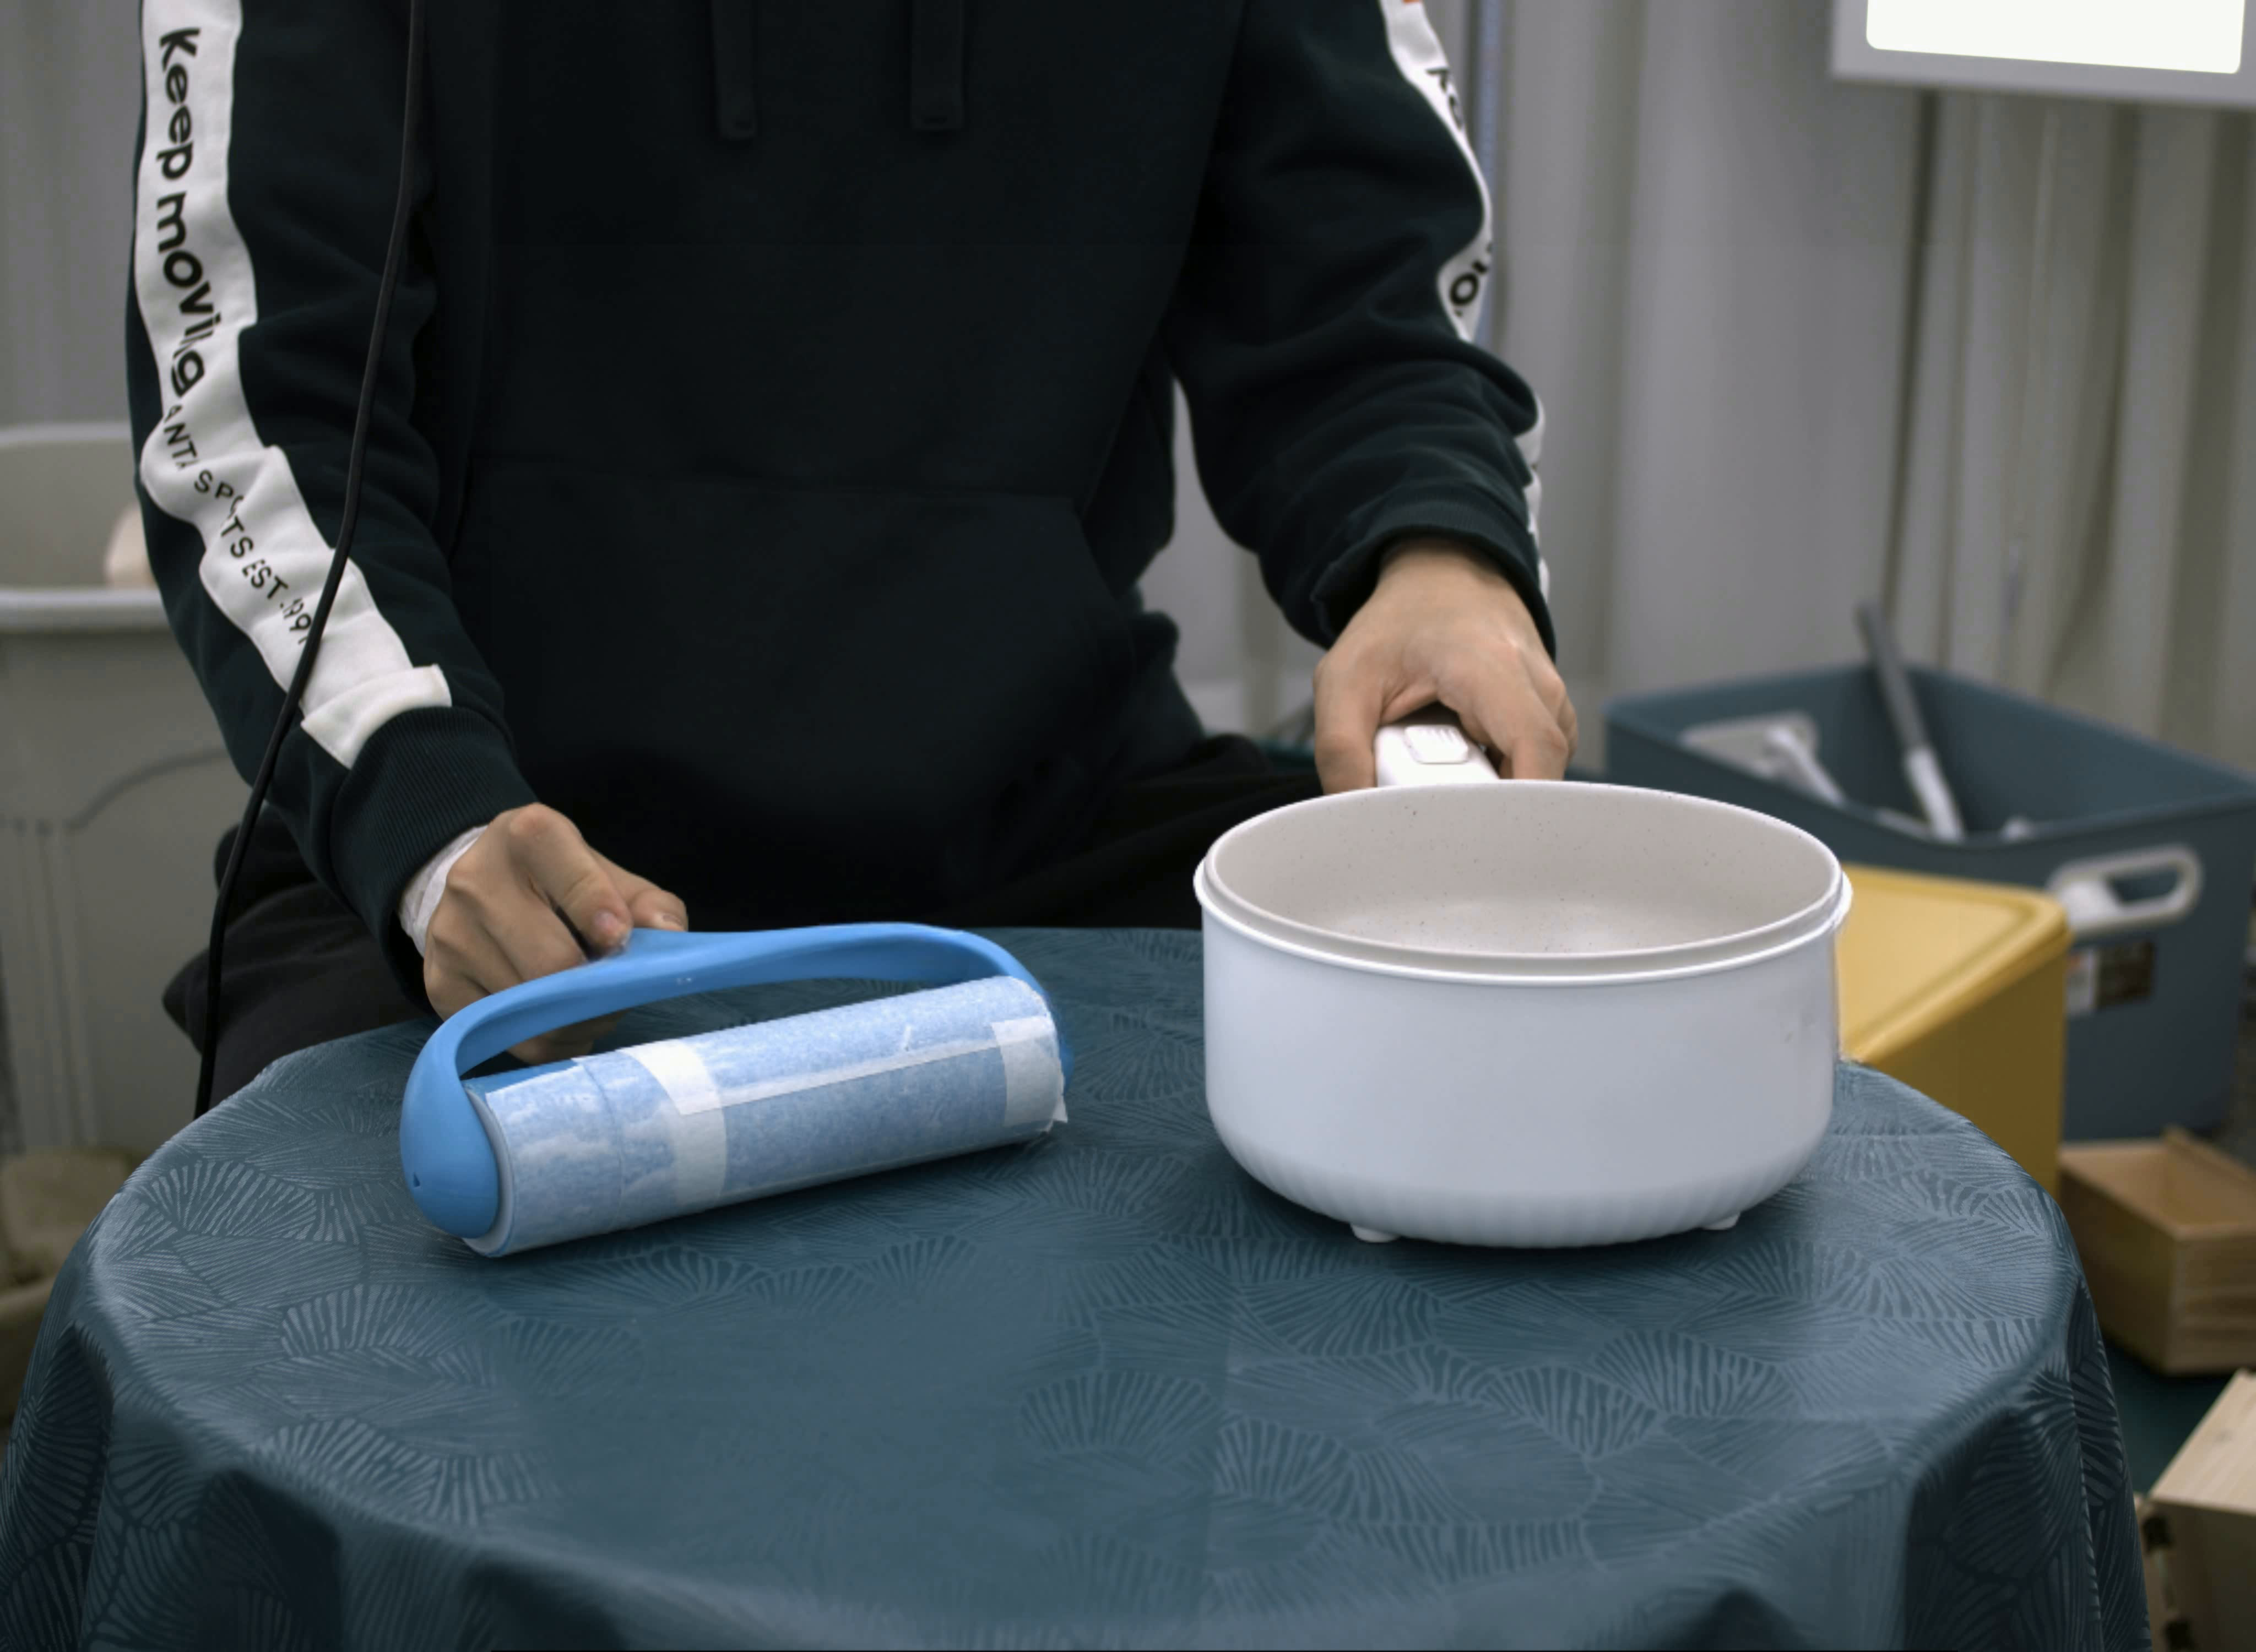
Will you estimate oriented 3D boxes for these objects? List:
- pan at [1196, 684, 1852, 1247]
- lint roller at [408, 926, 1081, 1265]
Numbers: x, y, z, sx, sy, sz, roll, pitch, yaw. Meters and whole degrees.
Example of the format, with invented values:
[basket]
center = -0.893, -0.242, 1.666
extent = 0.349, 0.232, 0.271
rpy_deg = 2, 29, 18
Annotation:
[pan]
center = 0.113, 0.040, 1.696
extent = 0.201, 0.103, 0.352
rpy_deg = -2, 15, -6
[lint roller]
center = -0.148, 0.067, 1.647
extent = 0.230, 0.068, 0.177
rpy_deg = -13, 29, -35
